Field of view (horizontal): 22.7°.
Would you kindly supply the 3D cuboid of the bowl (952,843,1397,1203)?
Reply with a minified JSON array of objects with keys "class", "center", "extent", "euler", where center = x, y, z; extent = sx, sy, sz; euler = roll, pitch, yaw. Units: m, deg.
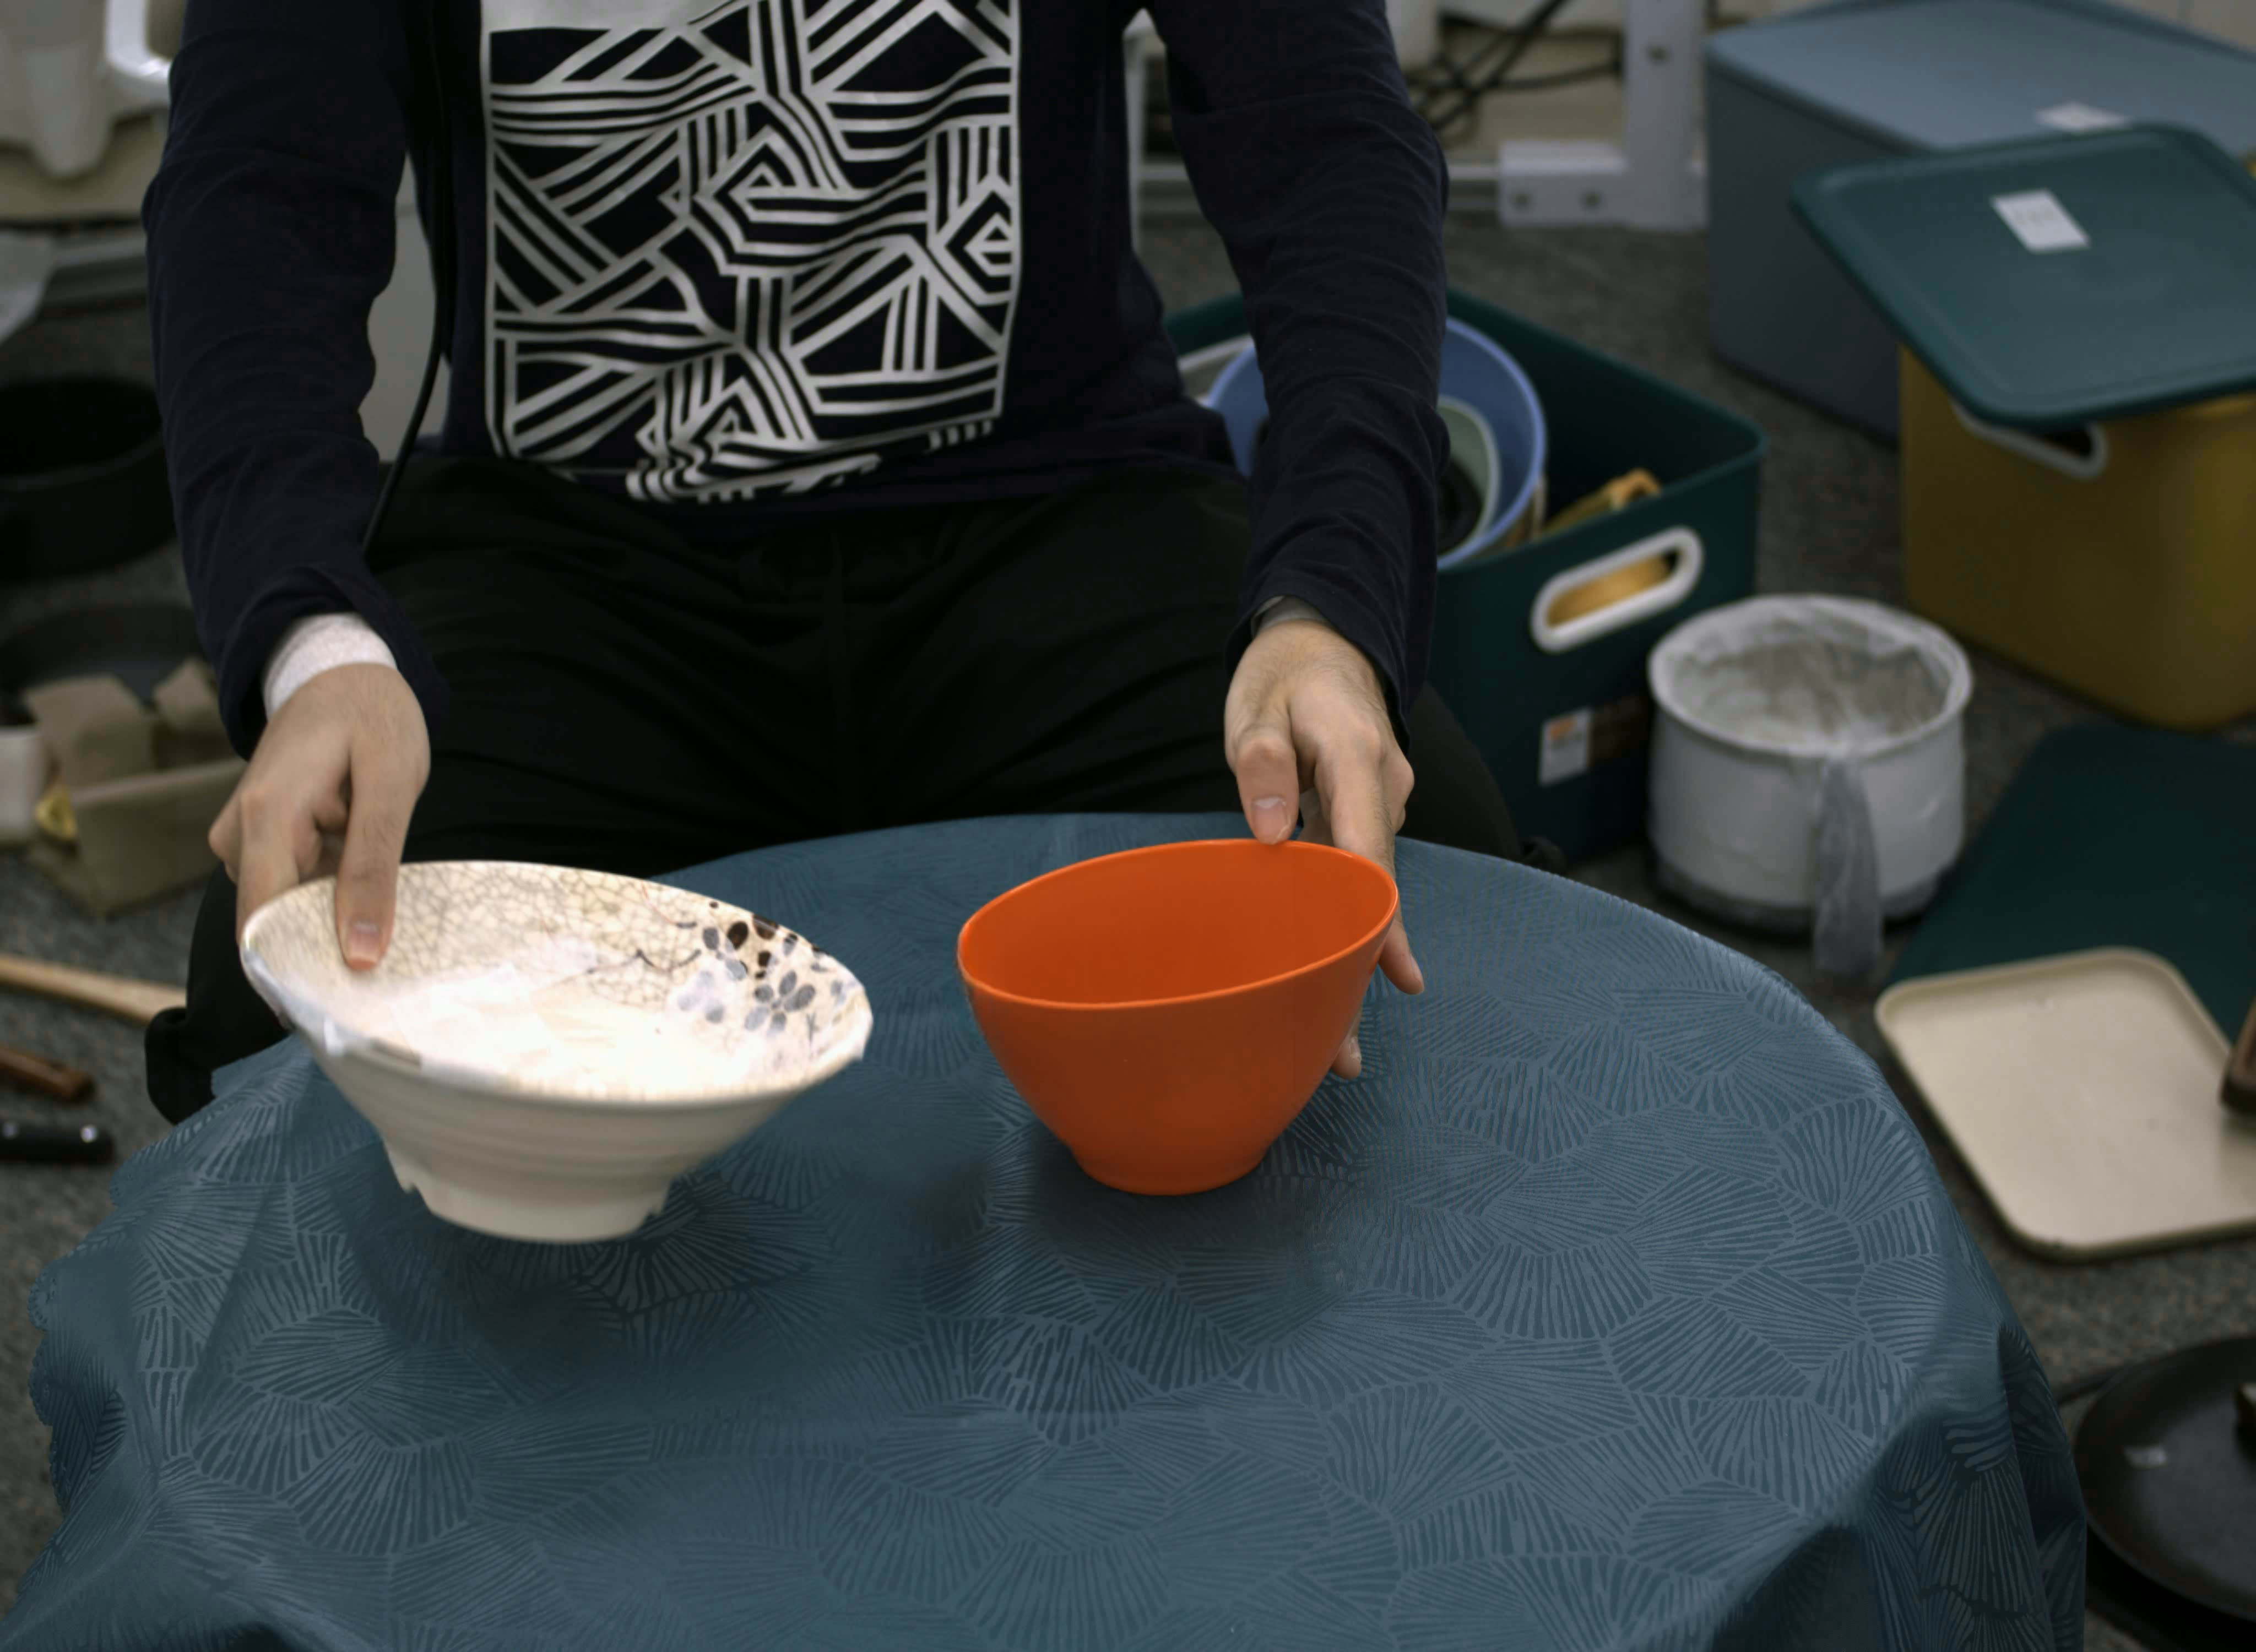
[{"class":"bowl","center":[0.017,0.068,1.856],"extent":[0.147,0.103,0.150],"euler":[-3,25,2]}]

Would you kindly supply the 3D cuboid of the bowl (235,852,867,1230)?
[{"class":"bowl","center":[-0.189,0.078,1.800],"extent":[0.203,0.077,0.206],"euler":[10,15,-2]}]
